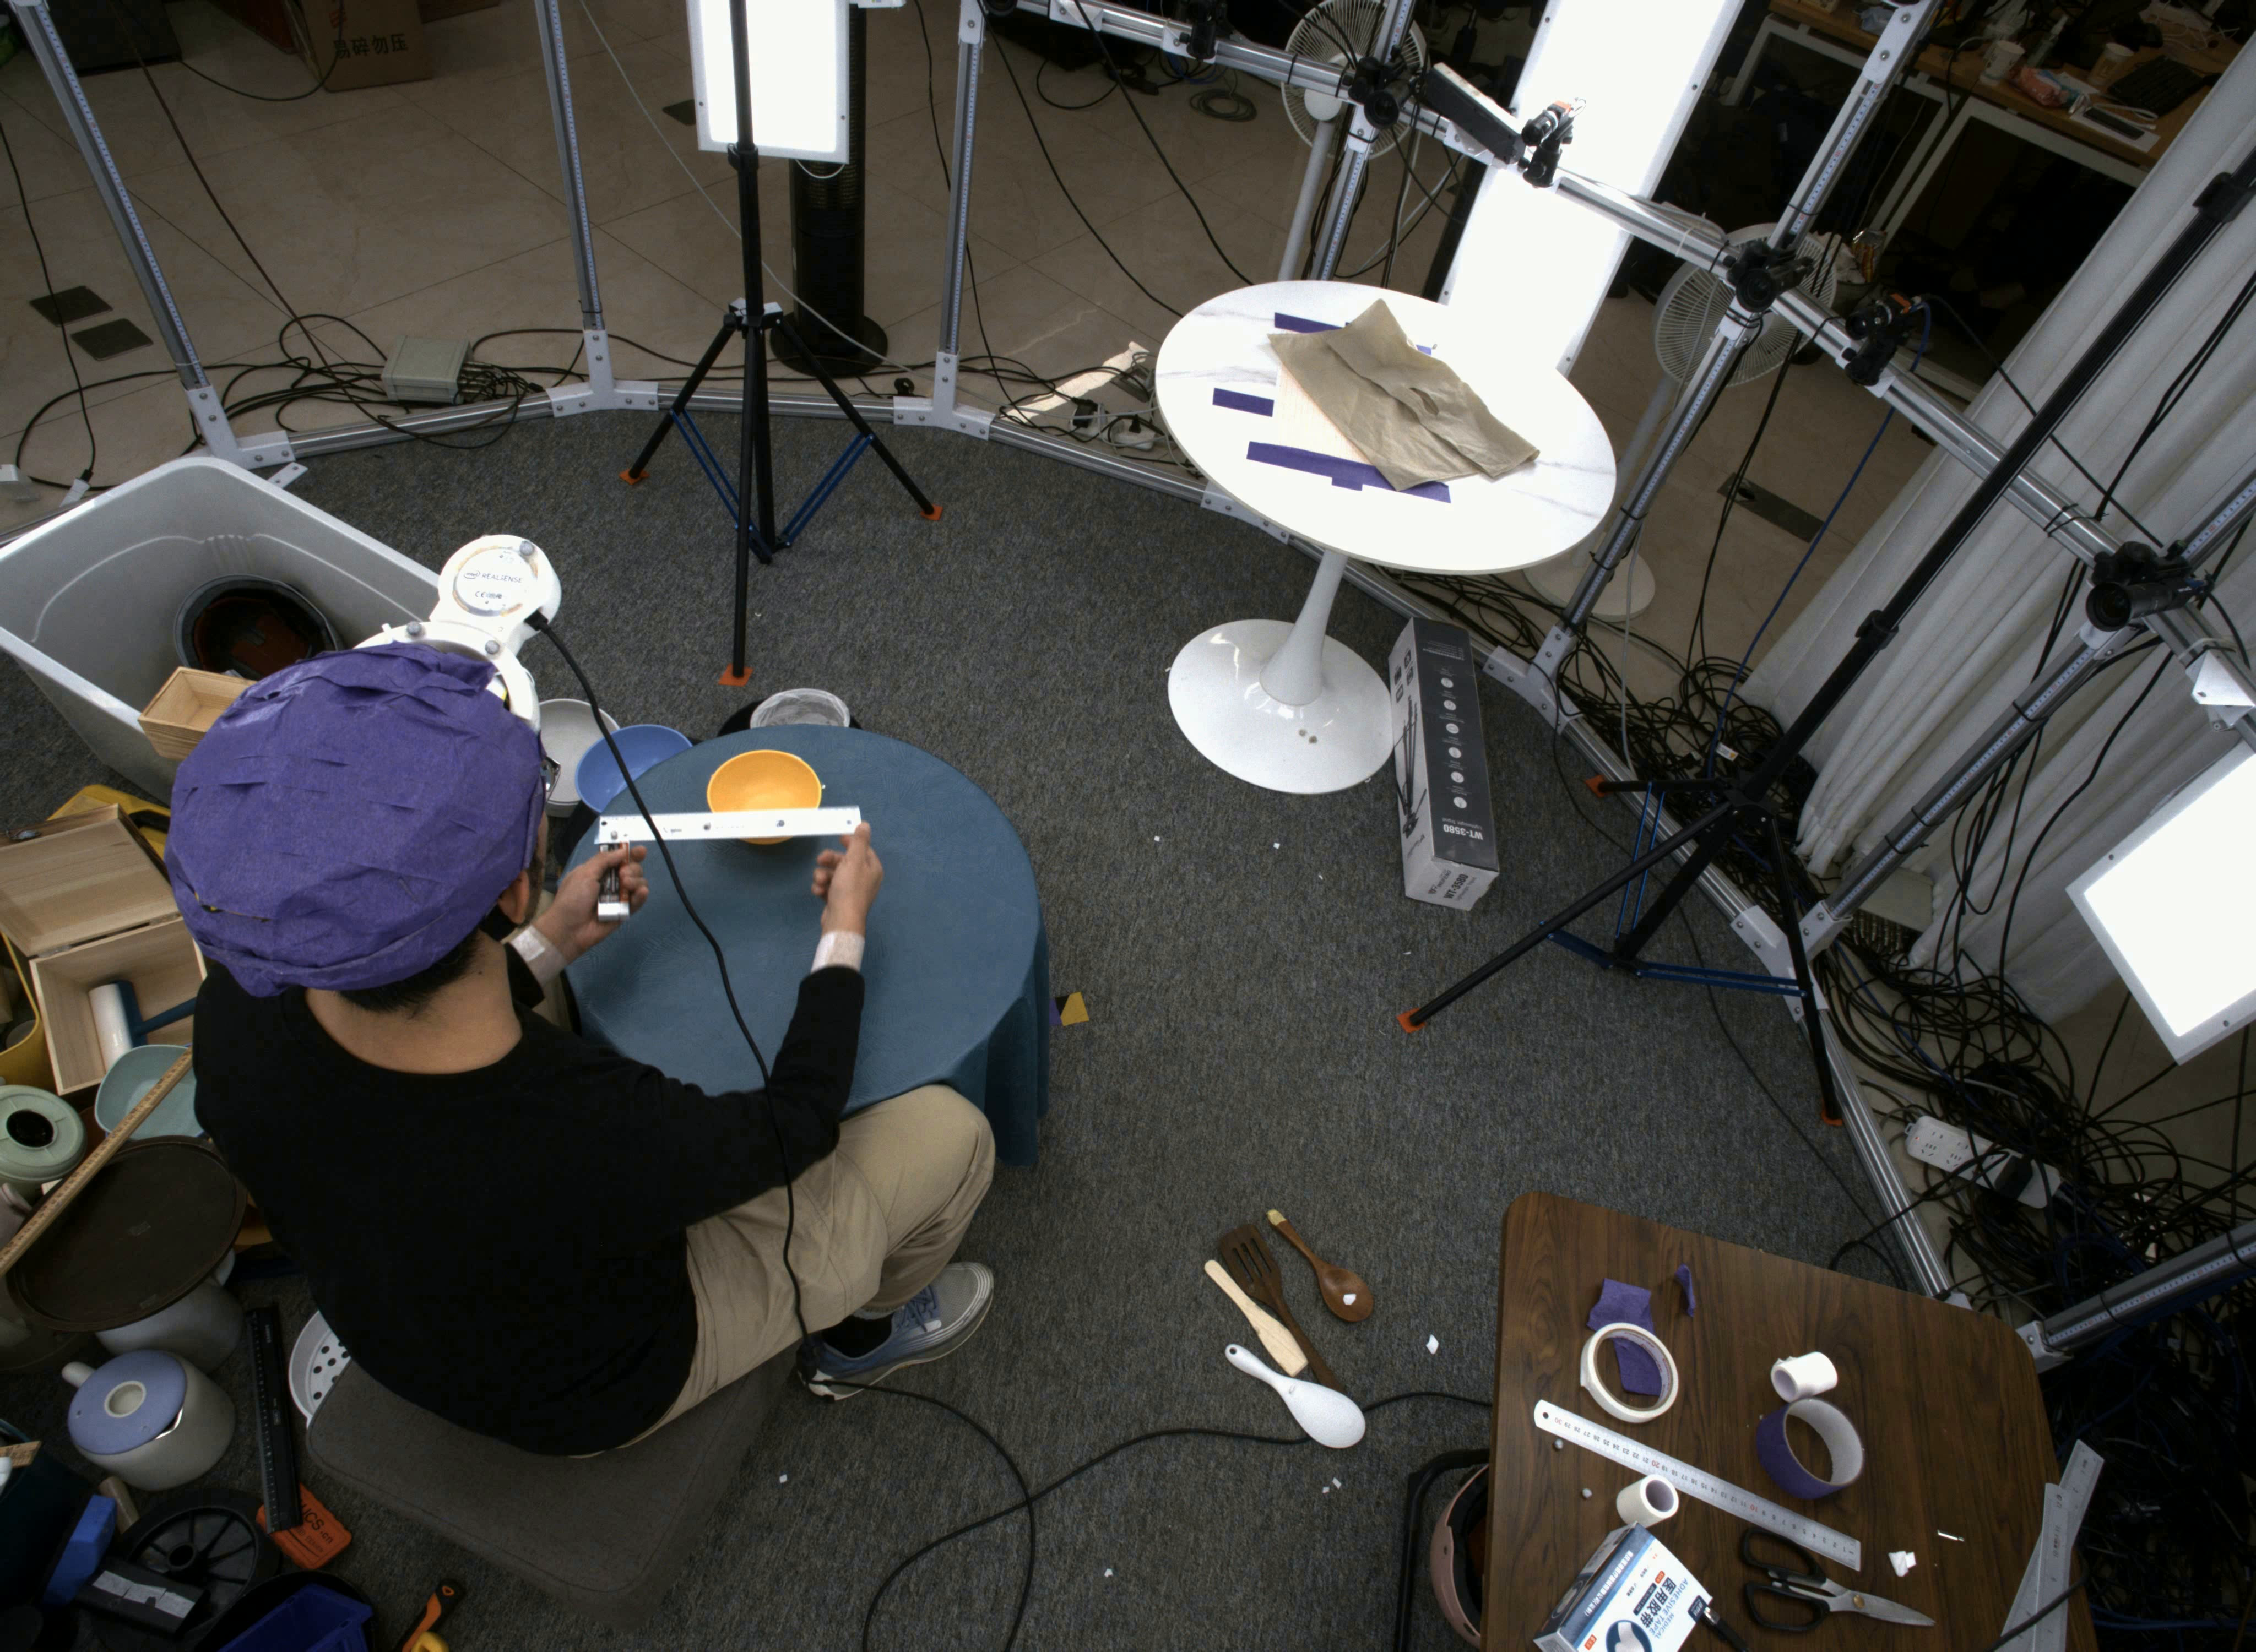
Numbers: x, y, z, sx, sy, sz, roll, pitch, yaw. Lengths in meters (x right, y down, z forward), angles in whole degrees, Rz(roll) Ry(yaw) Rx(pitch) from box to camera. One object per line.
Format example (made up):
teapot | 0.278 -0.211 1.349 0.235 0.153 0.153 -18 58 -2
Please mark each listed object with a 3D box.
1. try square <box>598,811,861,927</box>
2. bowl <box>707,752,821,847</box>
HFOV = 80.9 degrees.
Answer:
try square | -0.470 0.044 1.534 0.315 0.016 0.149 -1 56 -21
bowl | -0.472 -0.025 1.689 0.144 0.061 0.143 6 53 -6
